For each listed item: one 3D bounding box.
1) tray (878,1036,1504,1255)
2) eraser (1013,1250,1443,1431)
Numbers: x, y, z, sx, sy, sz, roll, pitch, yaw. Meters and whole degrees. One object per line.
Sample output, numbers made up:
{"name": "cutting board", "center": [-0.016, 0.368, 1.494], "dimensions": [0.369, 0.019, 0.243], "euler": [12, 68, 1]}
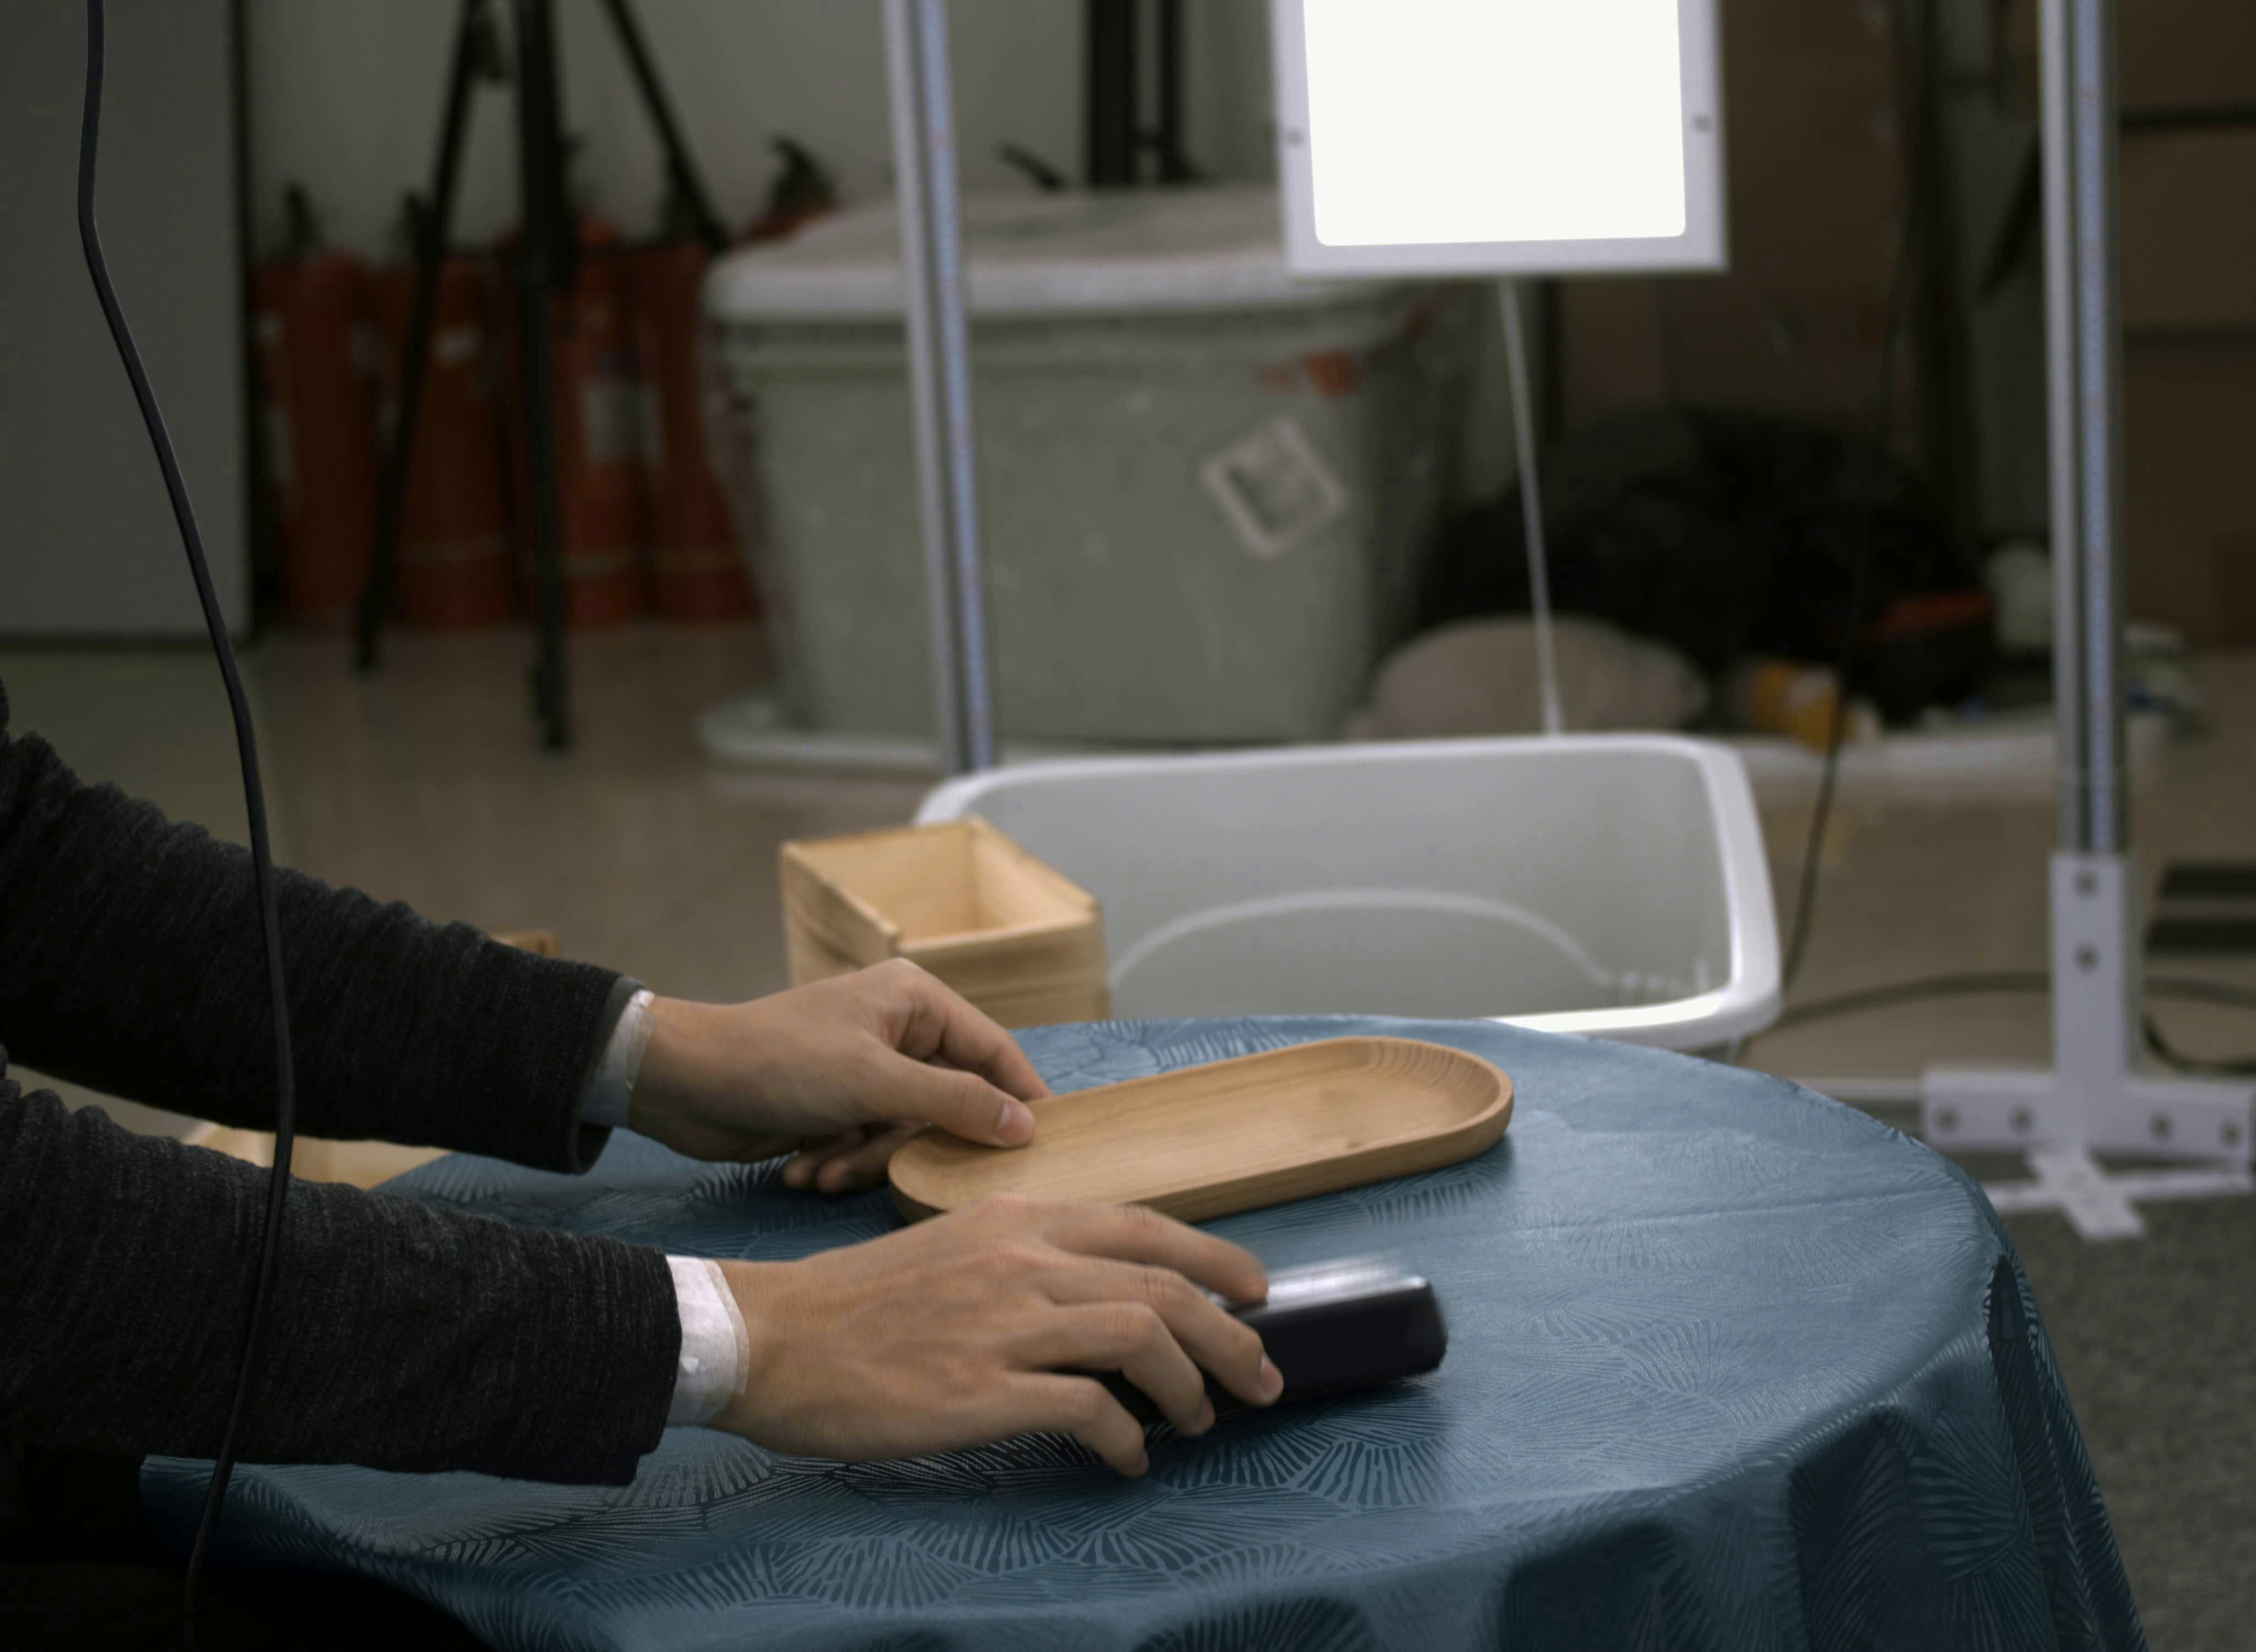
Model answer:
{"name": "tray", "center": [0.024, 0.110, 1.905], "dimensions": [0.227, 0.020, 0.103], "euler": [-12, 20, -22]}
{"name": "eraser", "center": [0.032, 0.155, 1.673], "dimensions": [0.123, 0.030, 0.054], "euler": [-9, 9, -26]}
